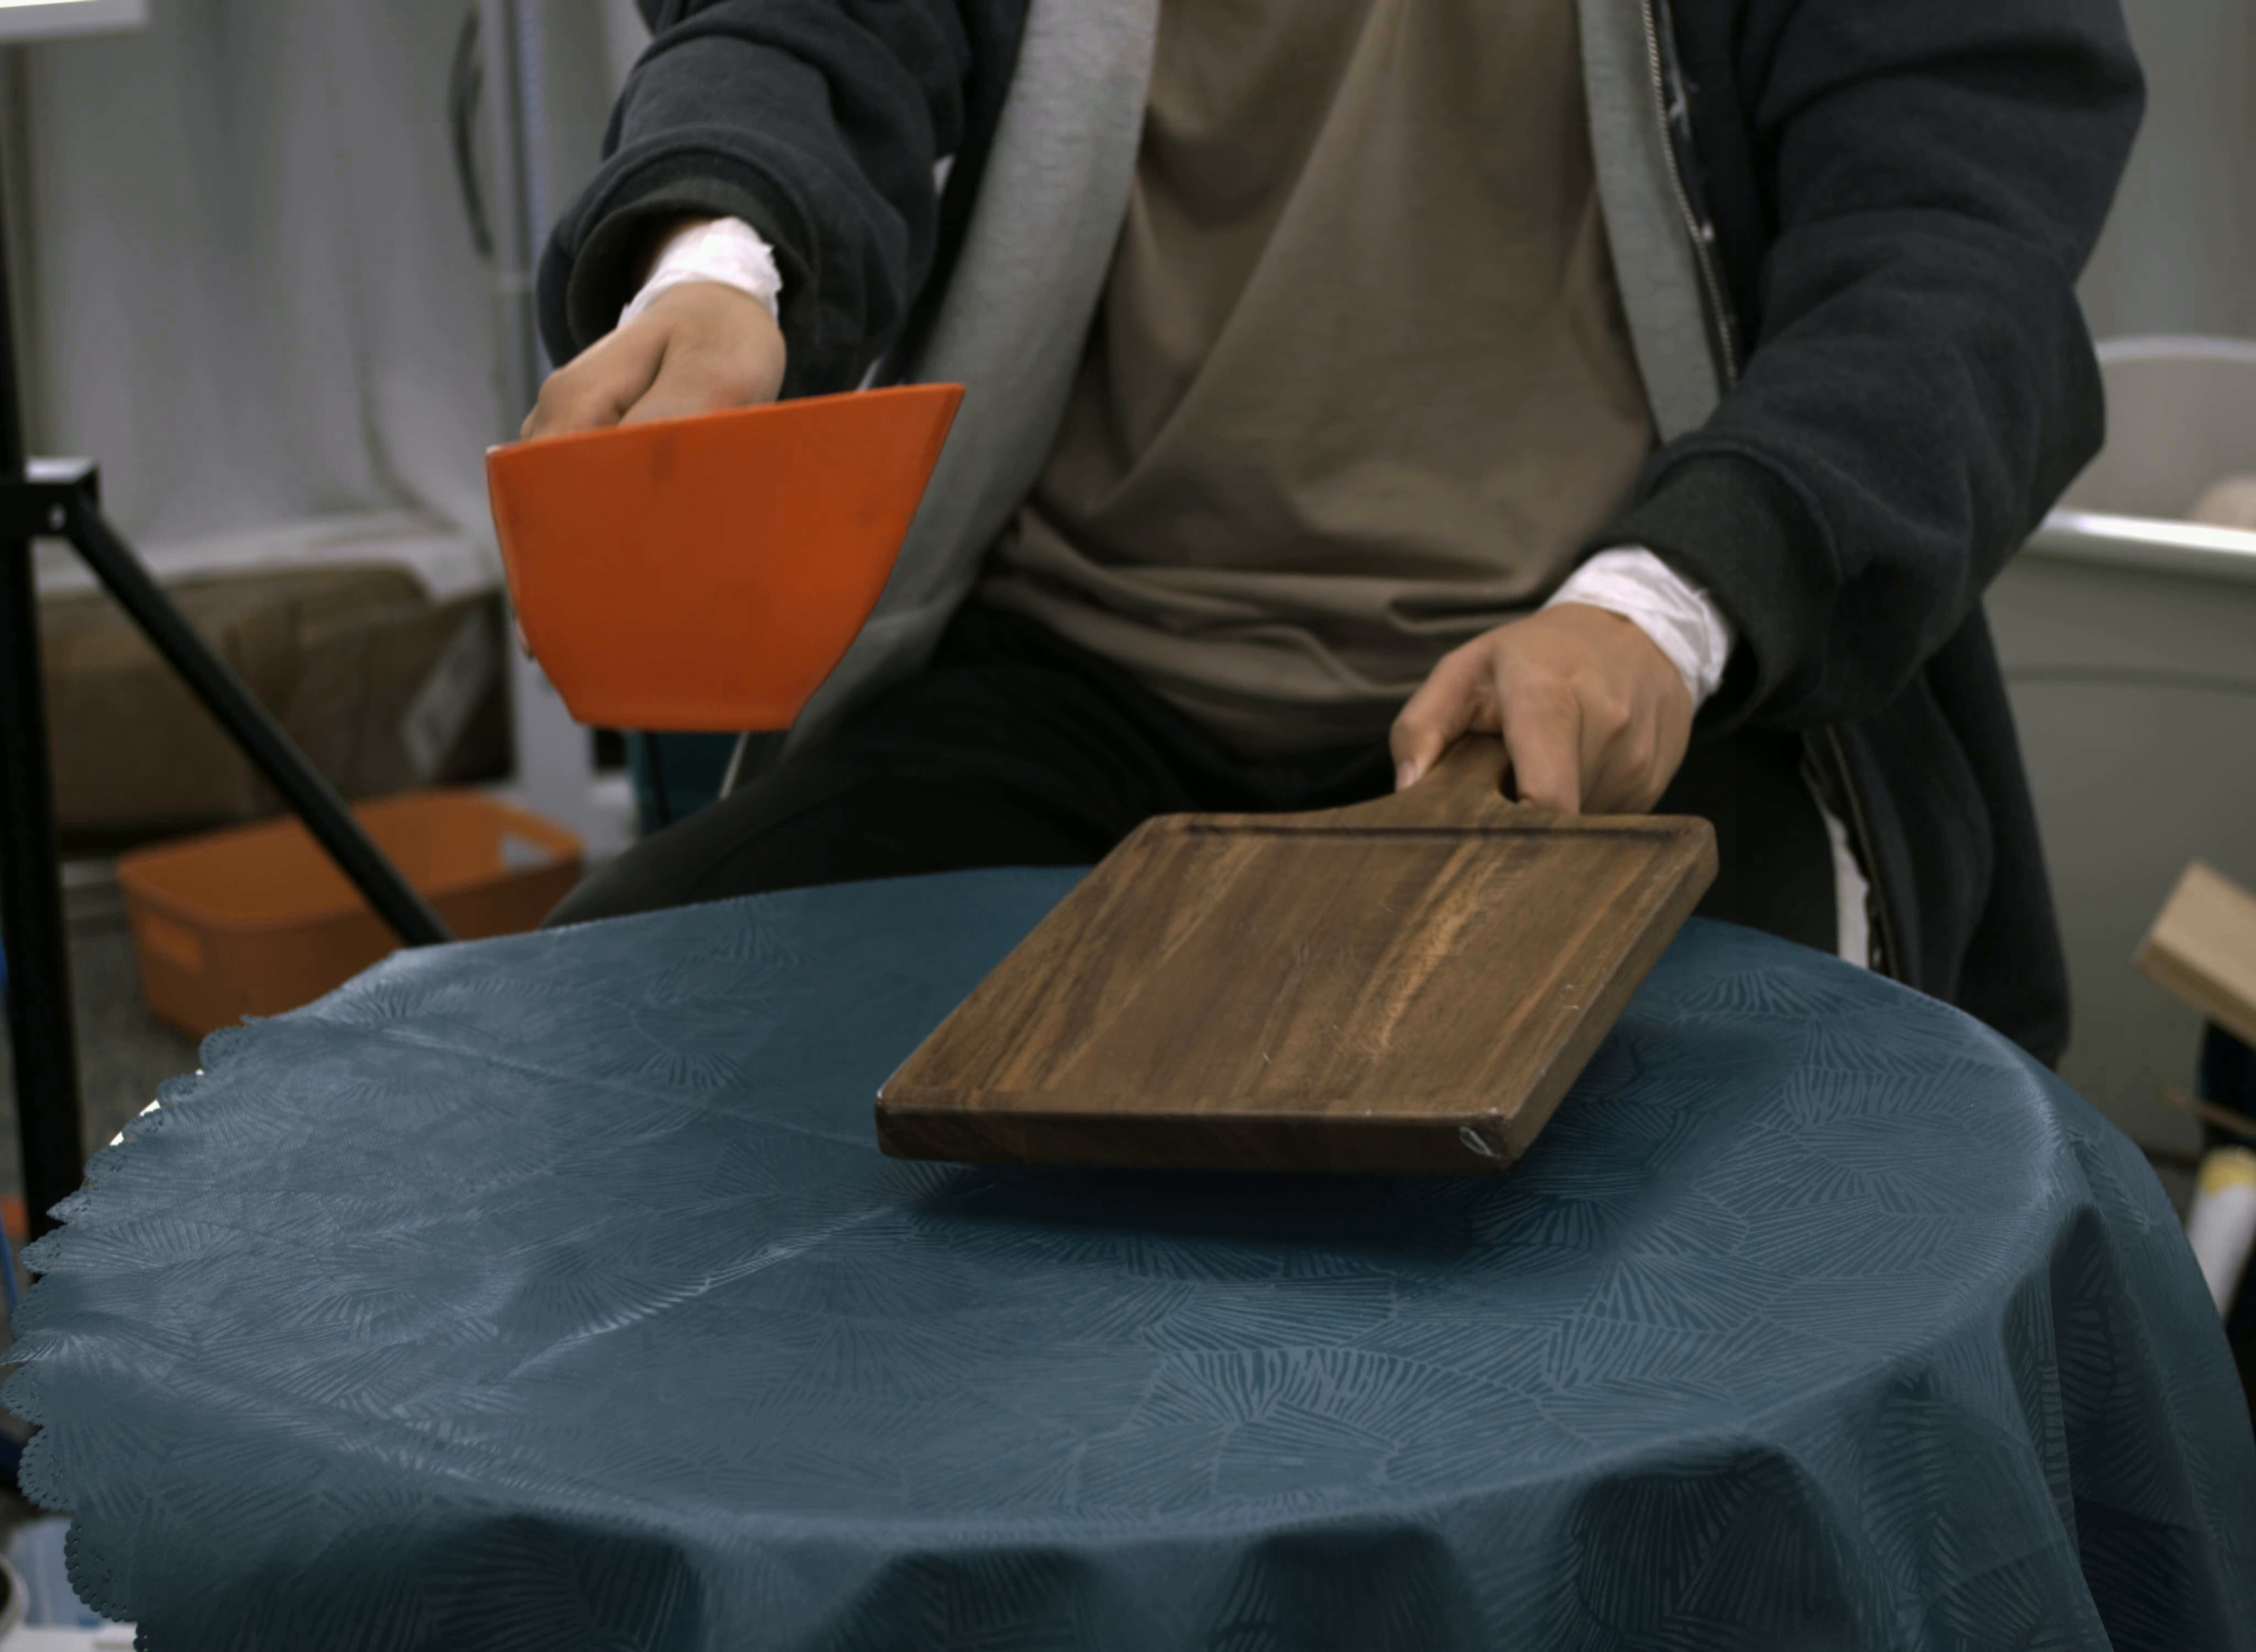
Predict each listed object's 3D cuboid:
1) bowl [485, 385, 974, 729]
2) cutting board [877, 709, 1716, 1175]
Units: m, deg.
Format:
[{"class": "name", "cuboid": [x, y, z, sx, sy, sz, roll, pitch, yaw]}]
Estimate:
[{"class": "bowl", "cuboid": [-0.122, -0.083, 1.611, 0.147, 0.105, 0.148, 2, 4, -2]}, {"class": "cutting board", "cuboid": [0.073, 0.029, 1.655, 0.203, 0.023, 0.348, 0, 20, 21]}]
